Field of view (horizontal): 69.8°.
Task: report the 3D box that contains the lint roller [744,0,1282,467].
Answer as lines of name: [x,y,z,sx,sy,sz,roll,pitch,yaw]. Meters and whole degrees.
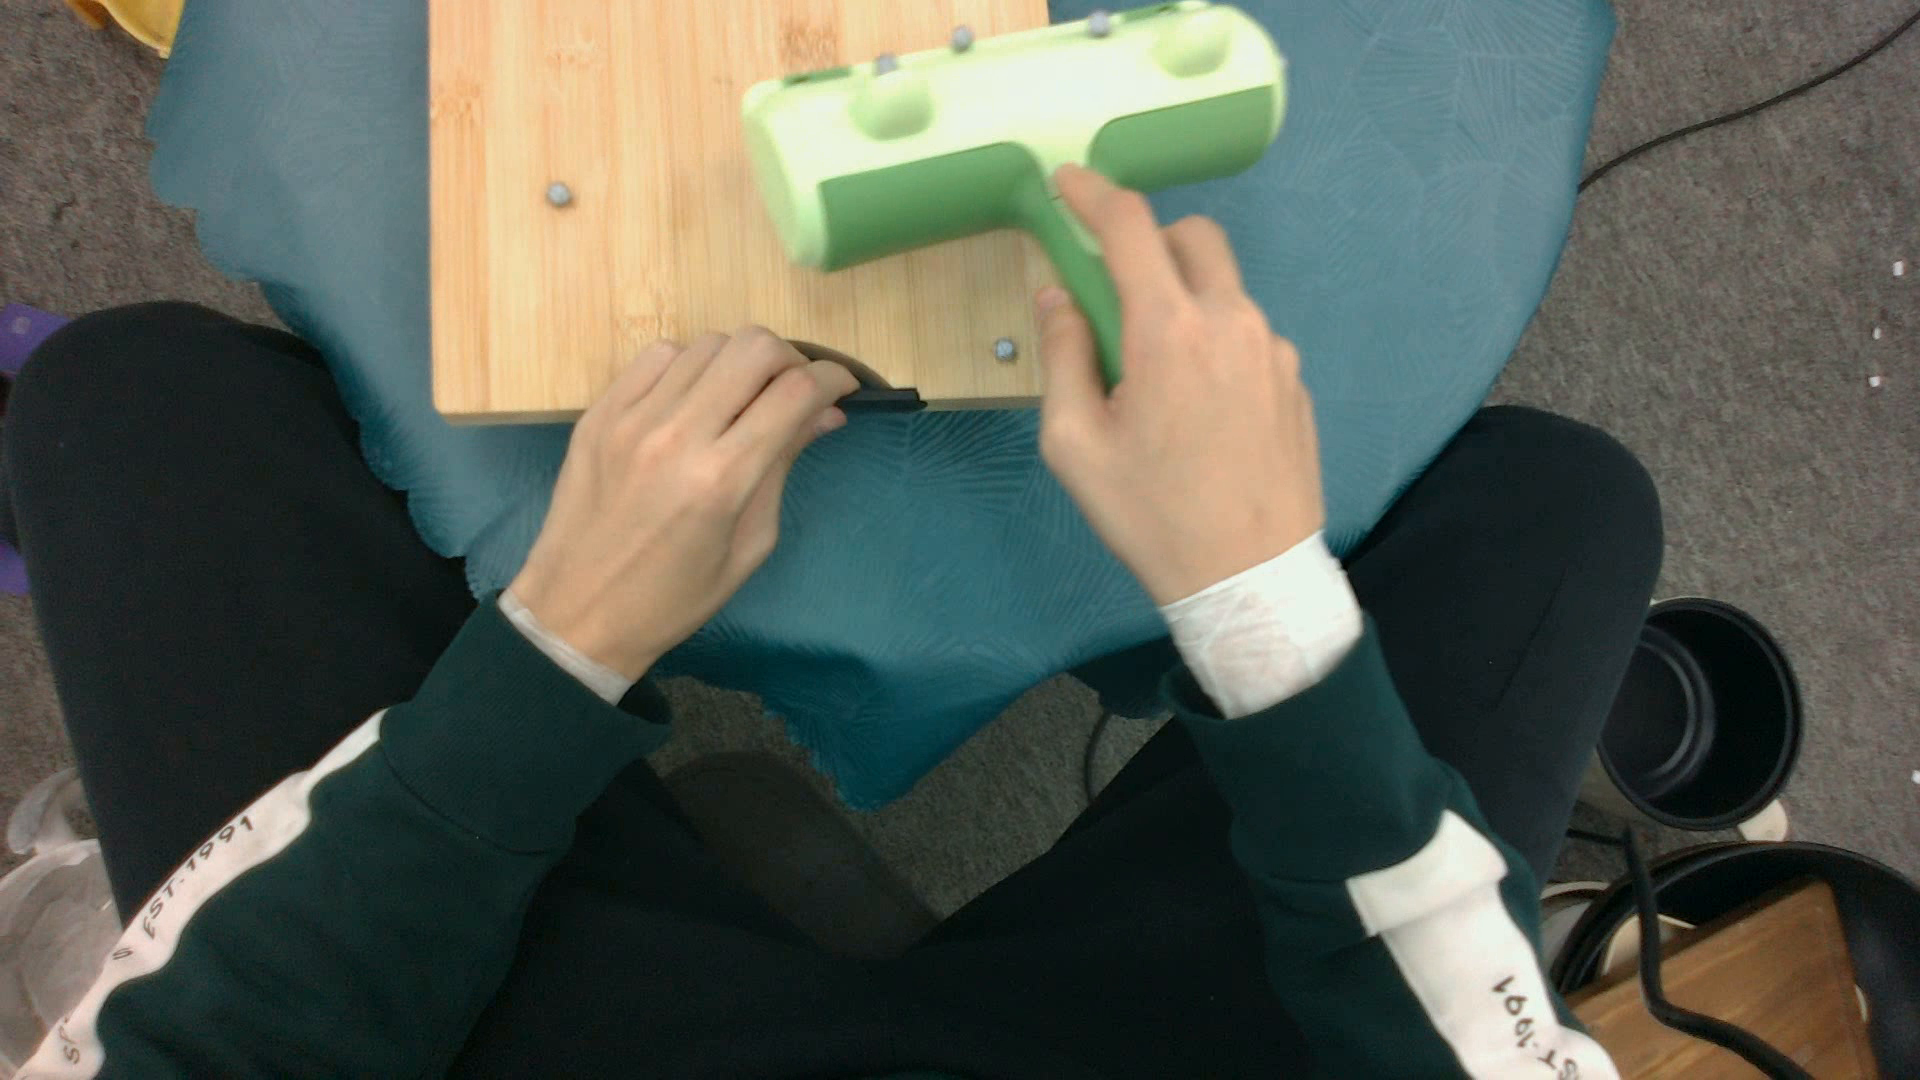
lint roller: [0.048,-0.115,0.469,0.199,0.082,0.184,-18,63,-20]

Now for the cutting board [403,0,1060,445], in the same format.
cutting board: [-0.096,-0.211,0.554,0.251,0.023,0.349,-4,79,-9]
